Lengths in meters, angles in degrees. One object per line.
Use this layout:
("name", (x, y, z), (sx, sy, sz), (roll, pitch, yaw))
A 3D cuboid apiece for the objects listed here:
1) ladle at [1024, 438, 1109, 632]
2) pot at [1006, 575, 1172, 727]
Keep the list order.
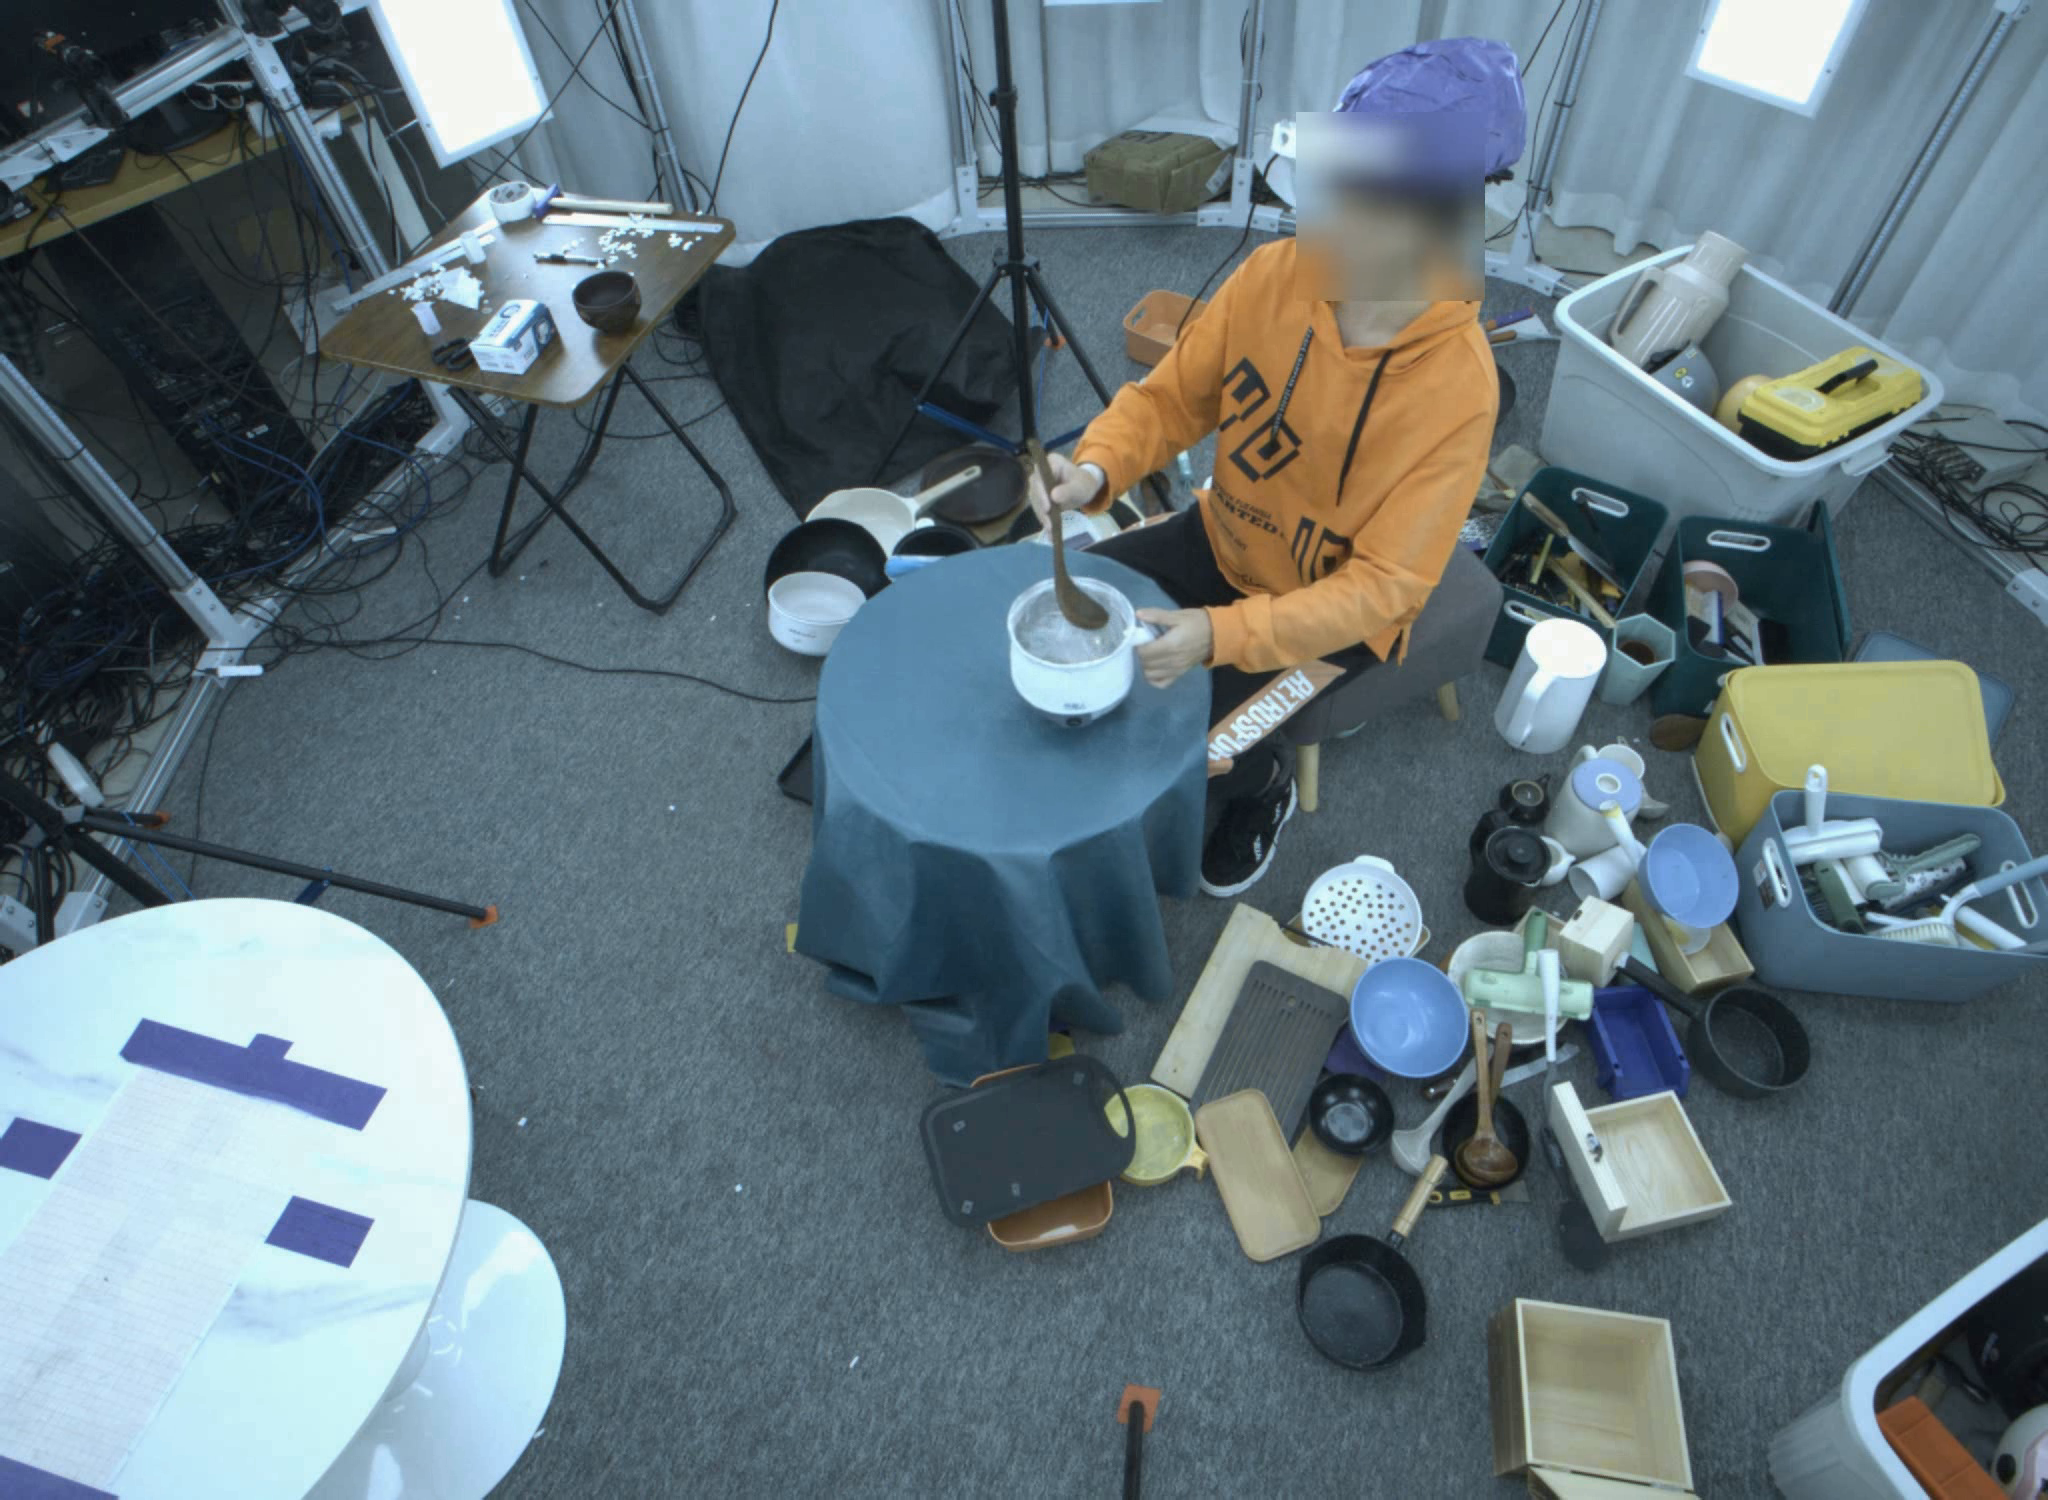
("ladle", (0.058, -0.294, 1.662), (0.070, 0.276, 0.076), (-4, 18, 25))
("pot", (0.094, -0.141, 1.745), (0.234, 0.138, 0.176), (-3, 53, 0))
